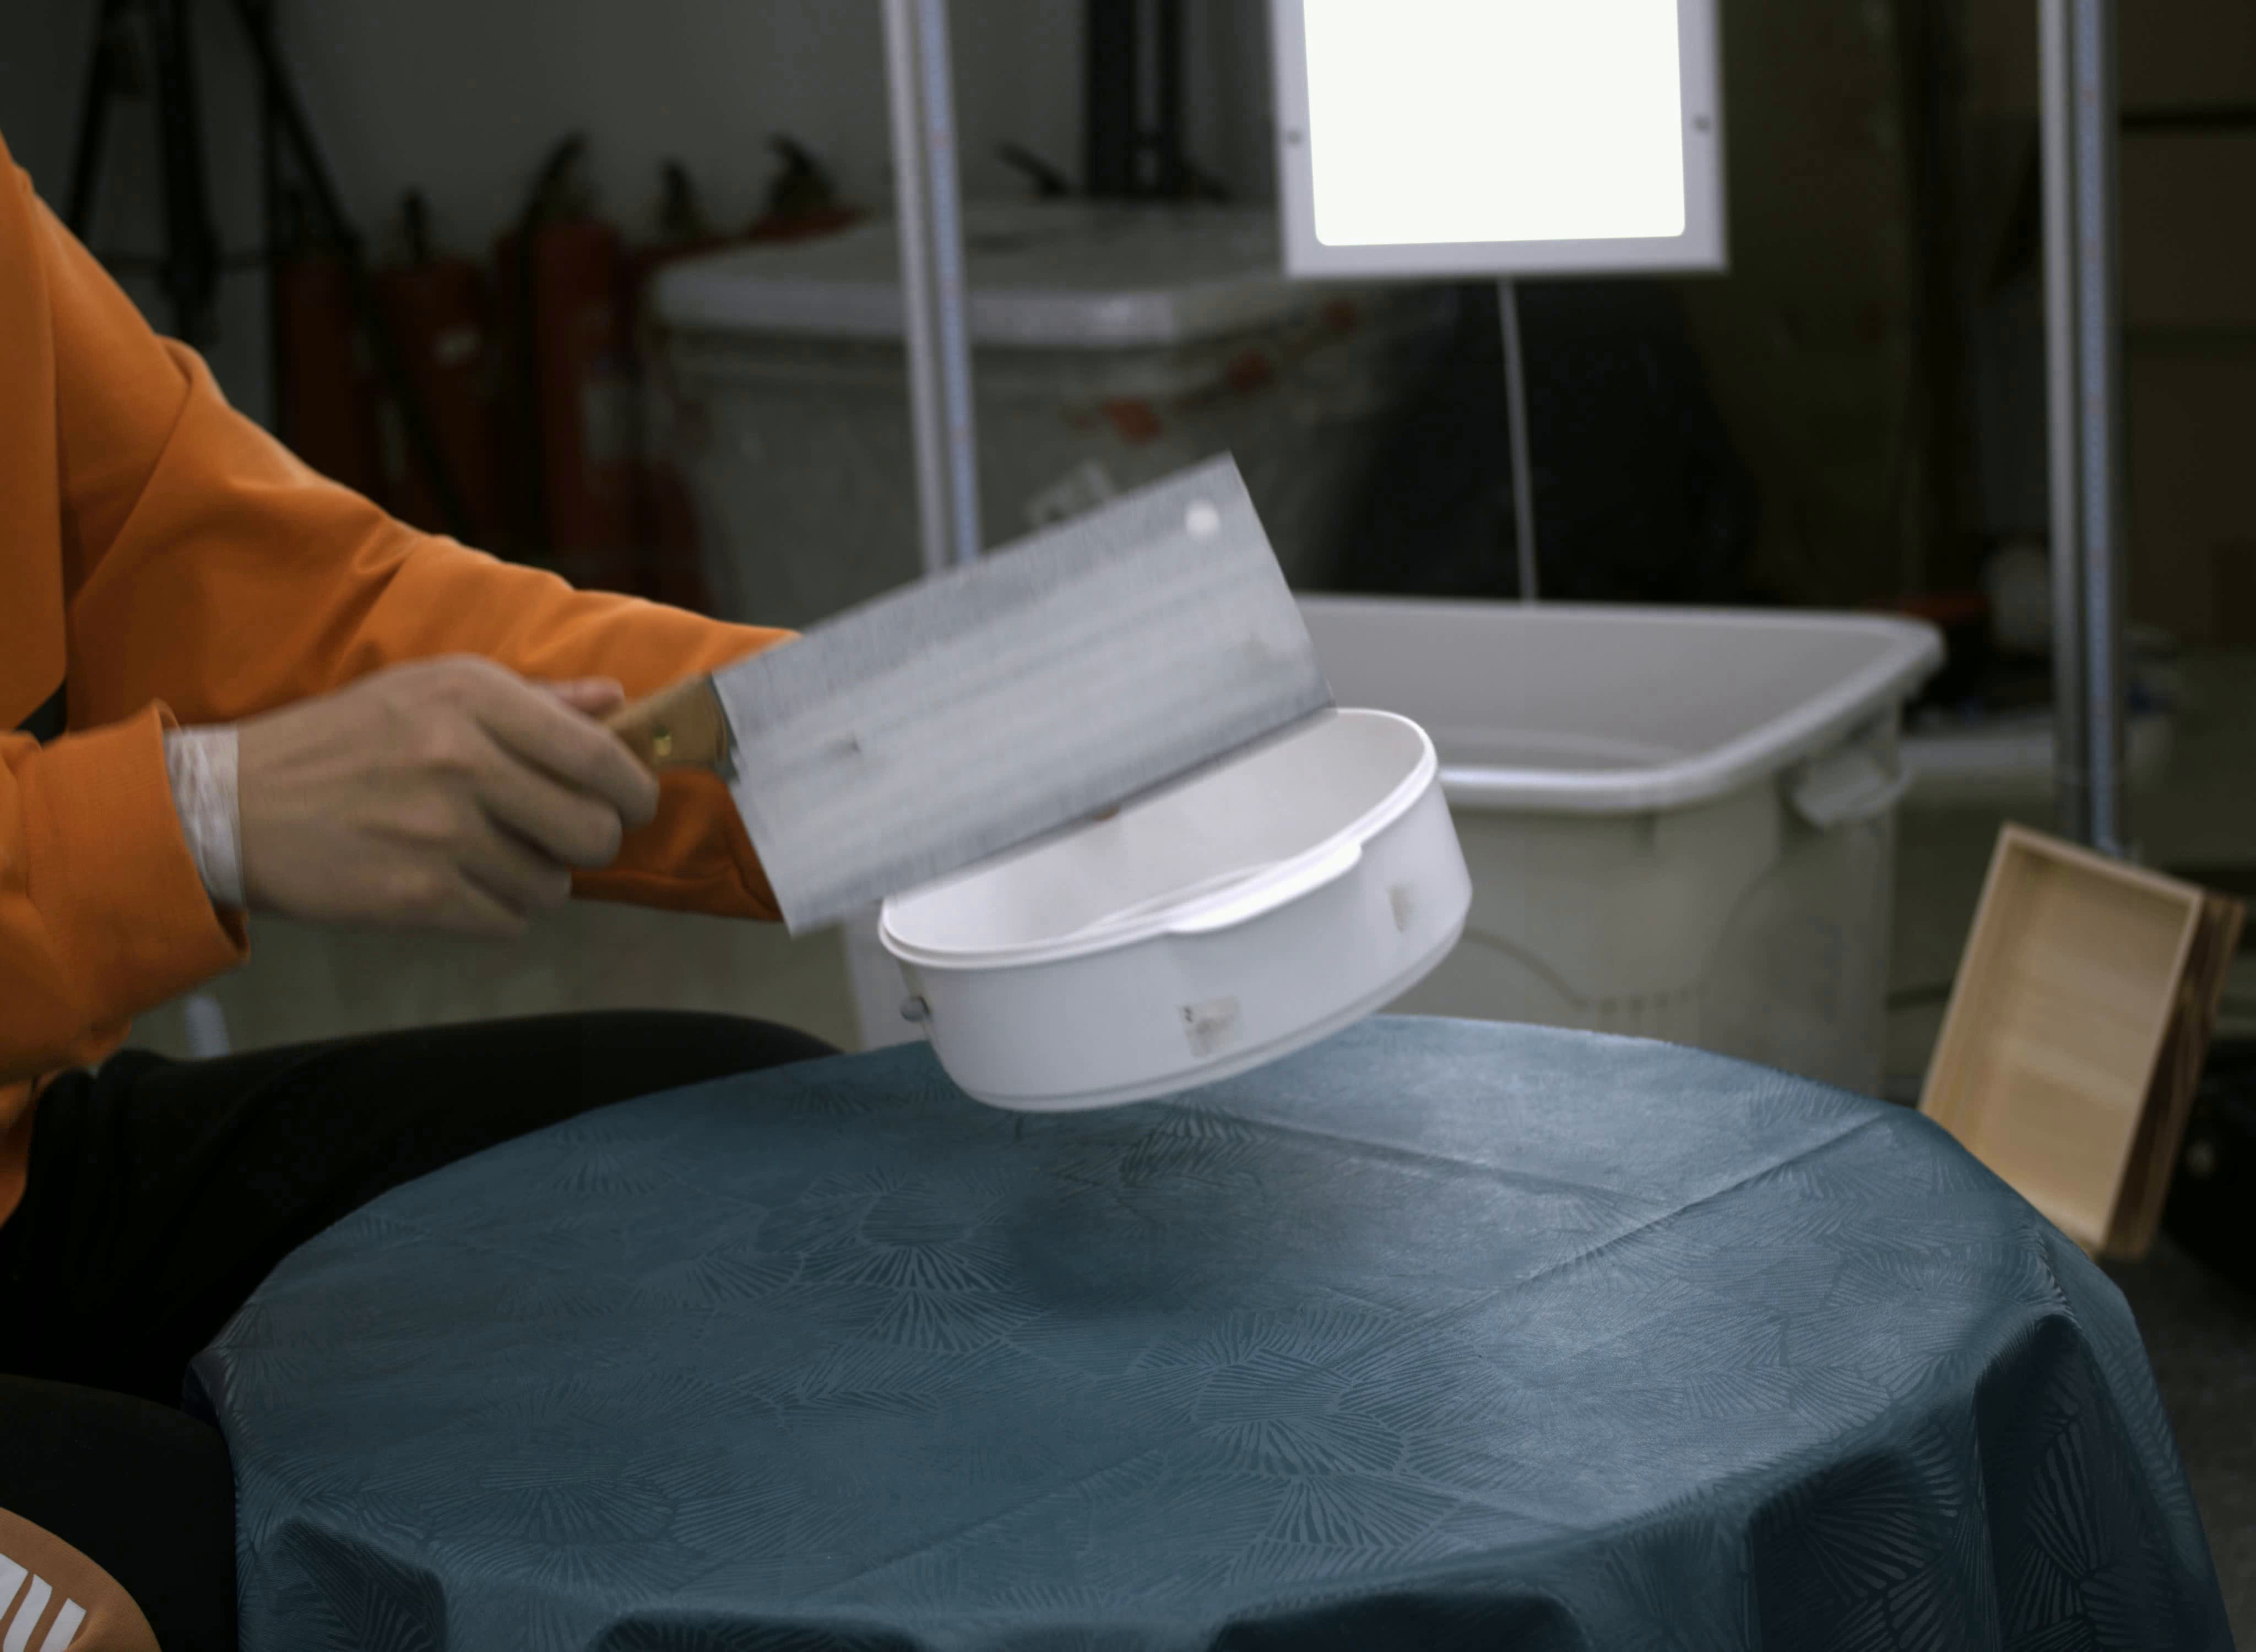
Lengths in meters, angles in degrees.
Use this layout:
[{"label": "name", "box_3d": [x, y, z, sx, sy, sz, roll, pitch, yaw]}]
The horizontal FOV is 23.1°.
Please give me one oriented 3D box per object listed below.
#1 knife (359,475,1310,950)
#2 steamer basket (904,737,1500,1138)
[{"label": "knife", "box_3d": [-0.090, -0.014, 1.739, 0.307, 0.093, 0.021, -22, 12, 8]}, {"label": "steamer basket", "box_3d": [0.028, 0.038, 1.871, 0.199, 0.069, 0.234, -23, 19, -17]}]
